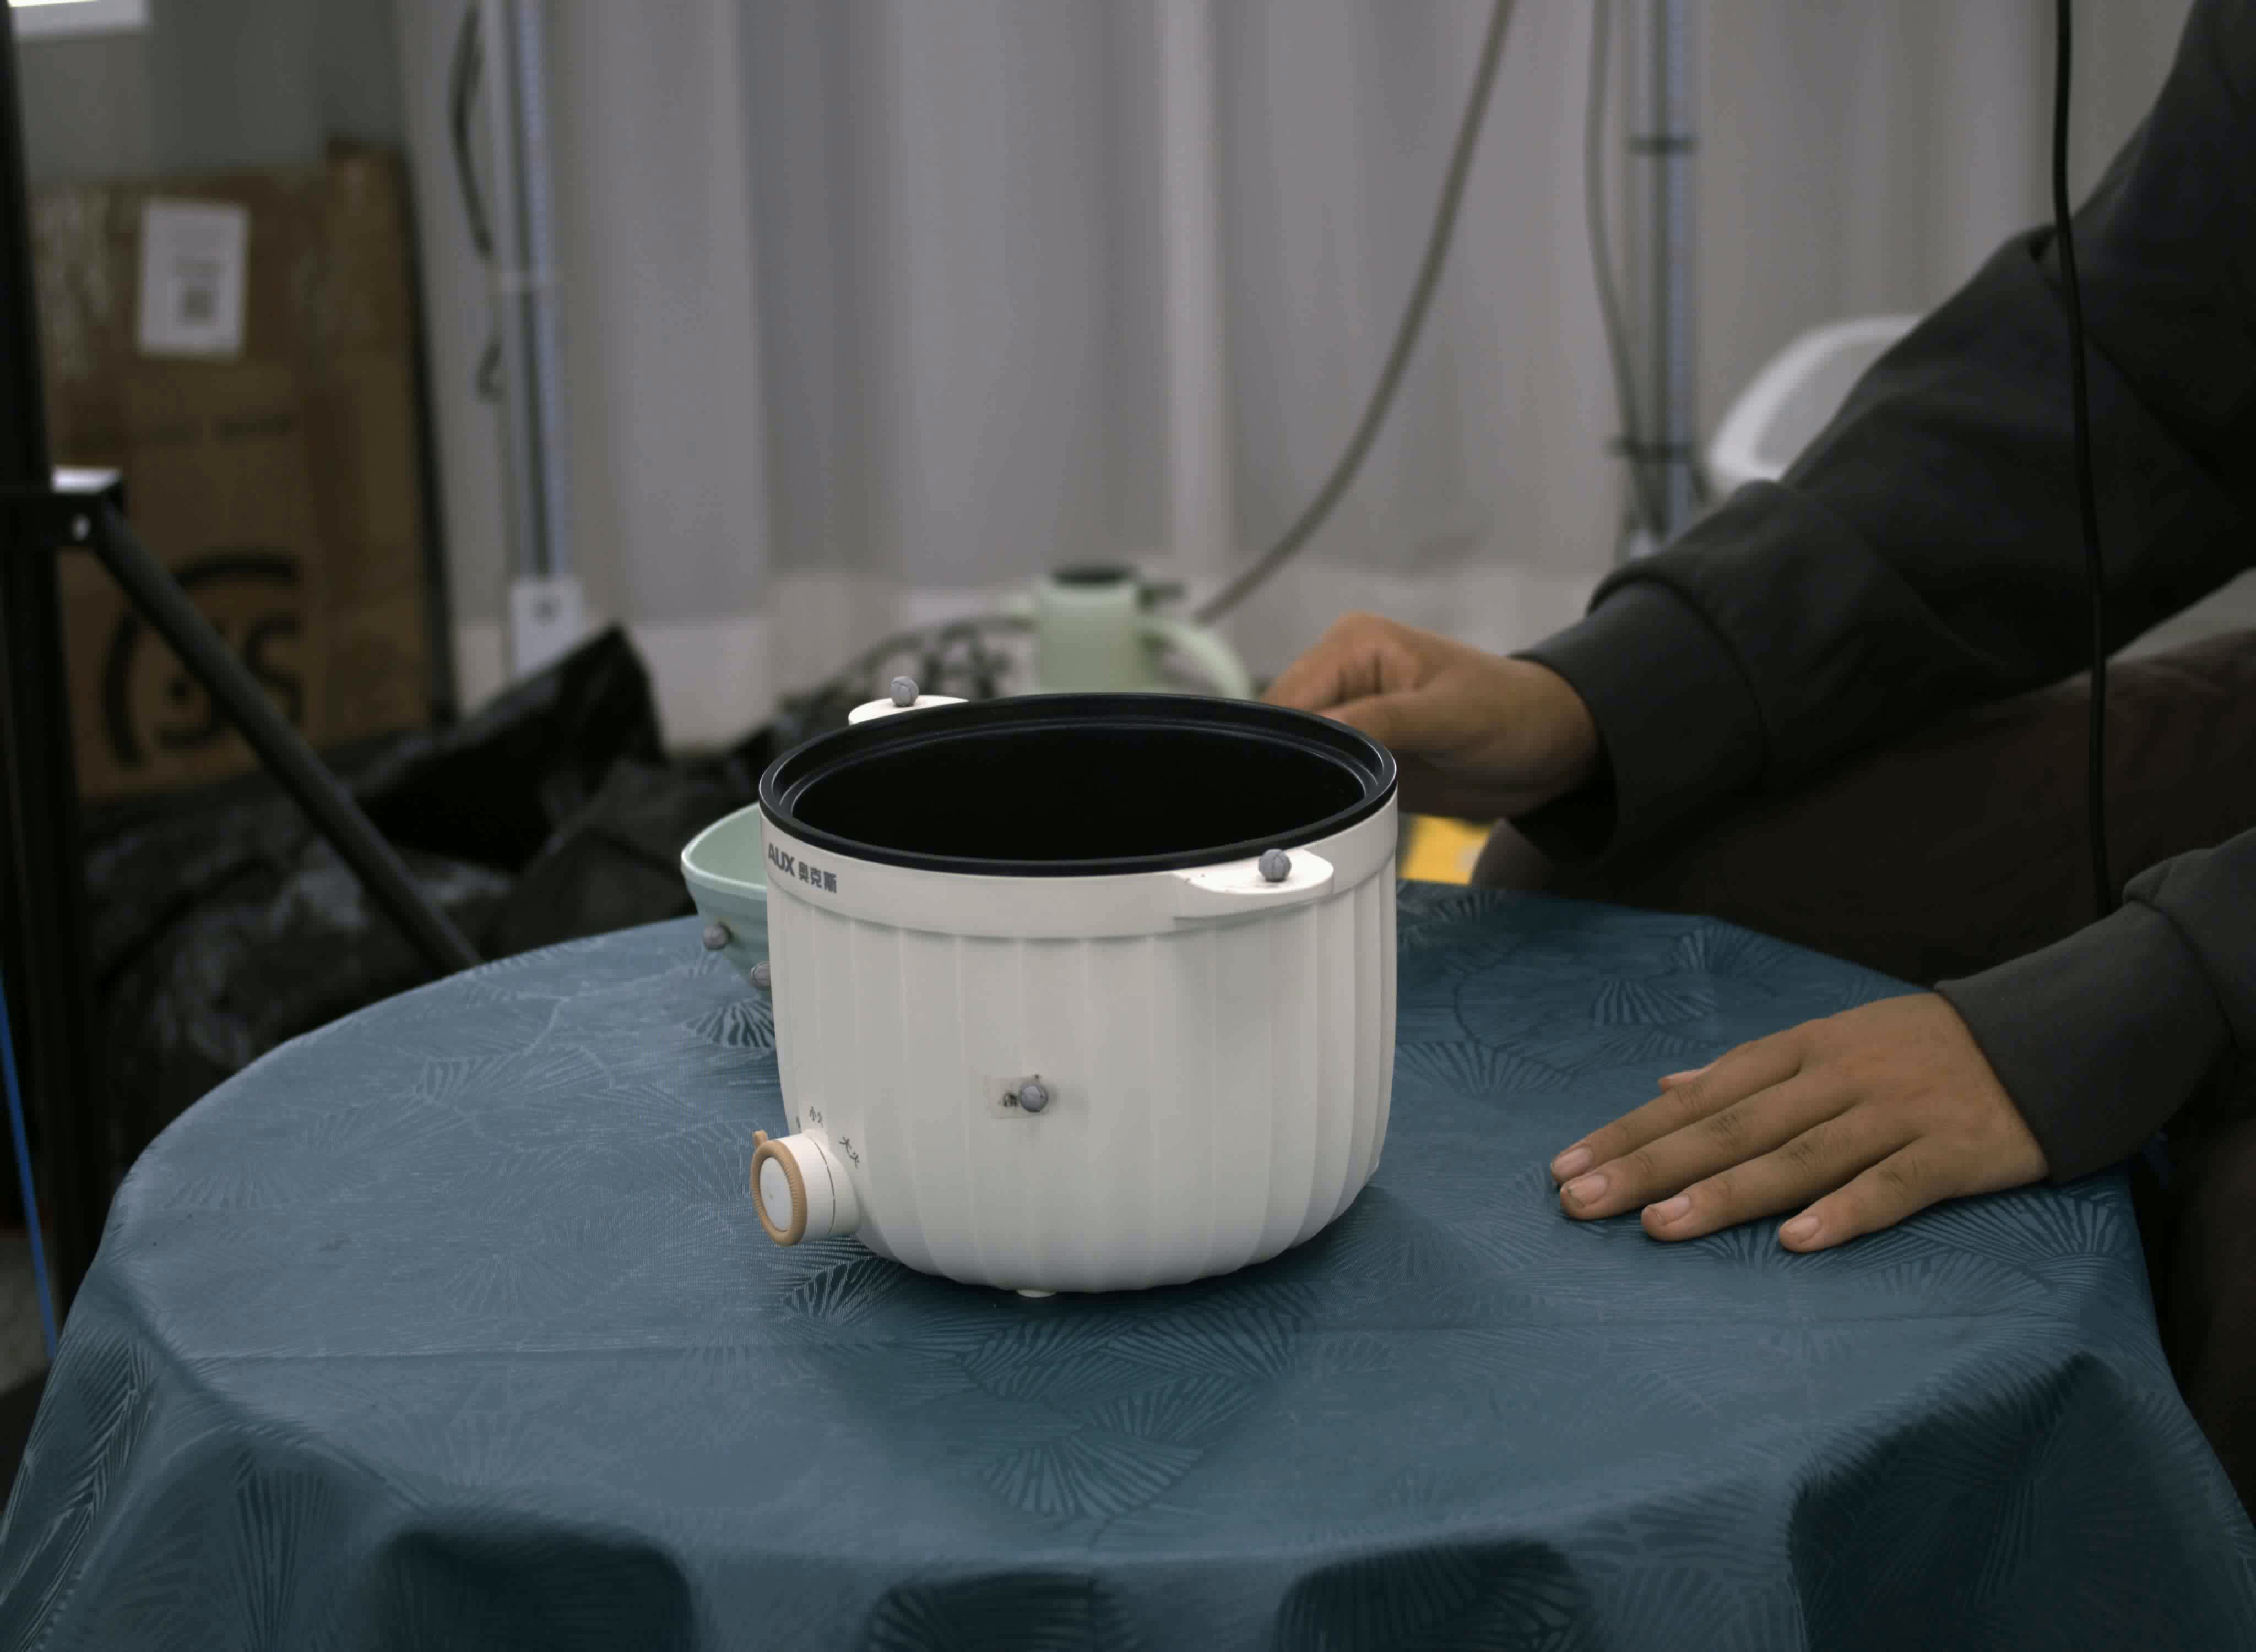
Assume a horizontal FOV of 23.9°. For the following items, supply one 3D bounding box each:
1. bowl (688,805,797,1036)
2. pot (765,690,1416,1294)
[{"bbox_3d":[-0.067,0.032,1.731,0.151,0.058,0.152,-4,17,0],"label":"bowl"},{"bbox_3d":[-0.013,0.049,1.511,0.186,0.143,0.245,-7,14,-29],"label":"pot"}]
